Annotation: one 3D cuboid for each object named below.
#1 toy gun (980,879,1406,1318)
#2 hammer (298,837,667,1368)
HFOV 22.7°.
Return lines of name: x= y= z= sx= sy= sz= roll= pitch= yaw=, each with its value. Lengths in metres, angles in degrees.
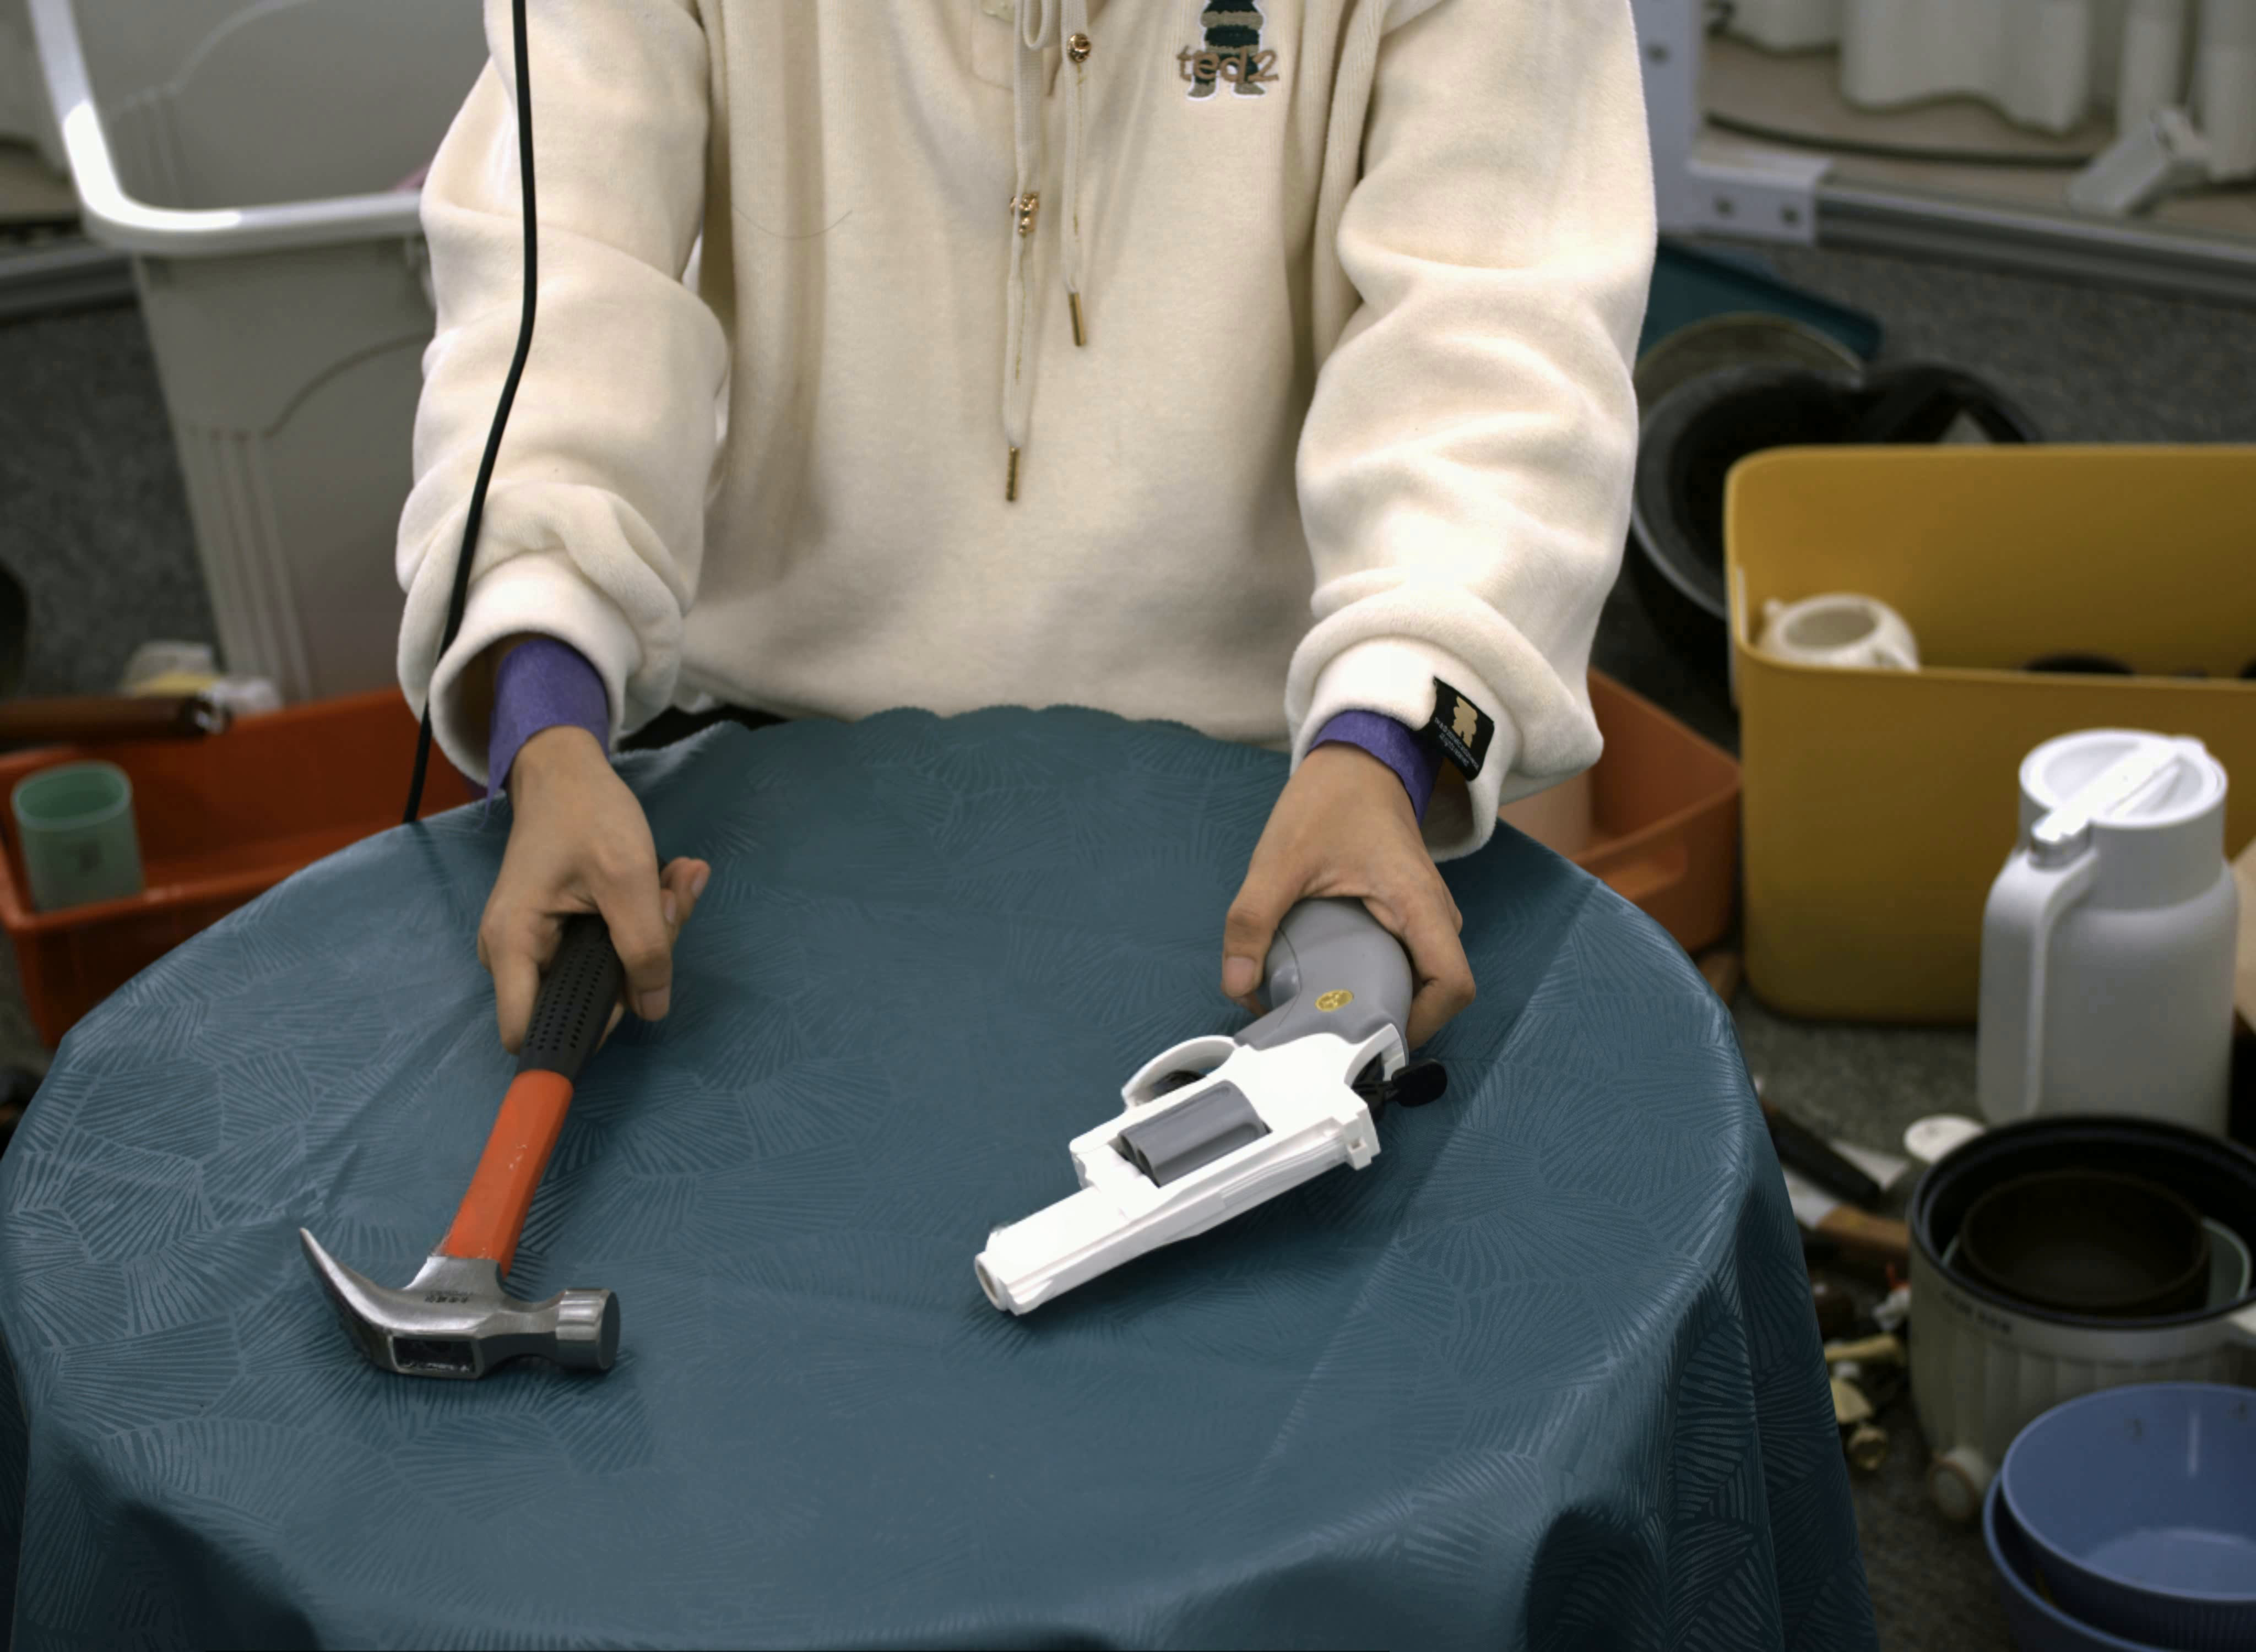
toy gun: x=0.023 y=0.089 z=1.866 sx=0.210 sy=0.038 sz=0.142 roll=-26 pitch=29 yaw=-19
hammer: x=-0.200 y=0.088 z=1.887 sx=0.110 sy=0.026 sz=0.282 roll=-6 pitch=31 yaw=14
